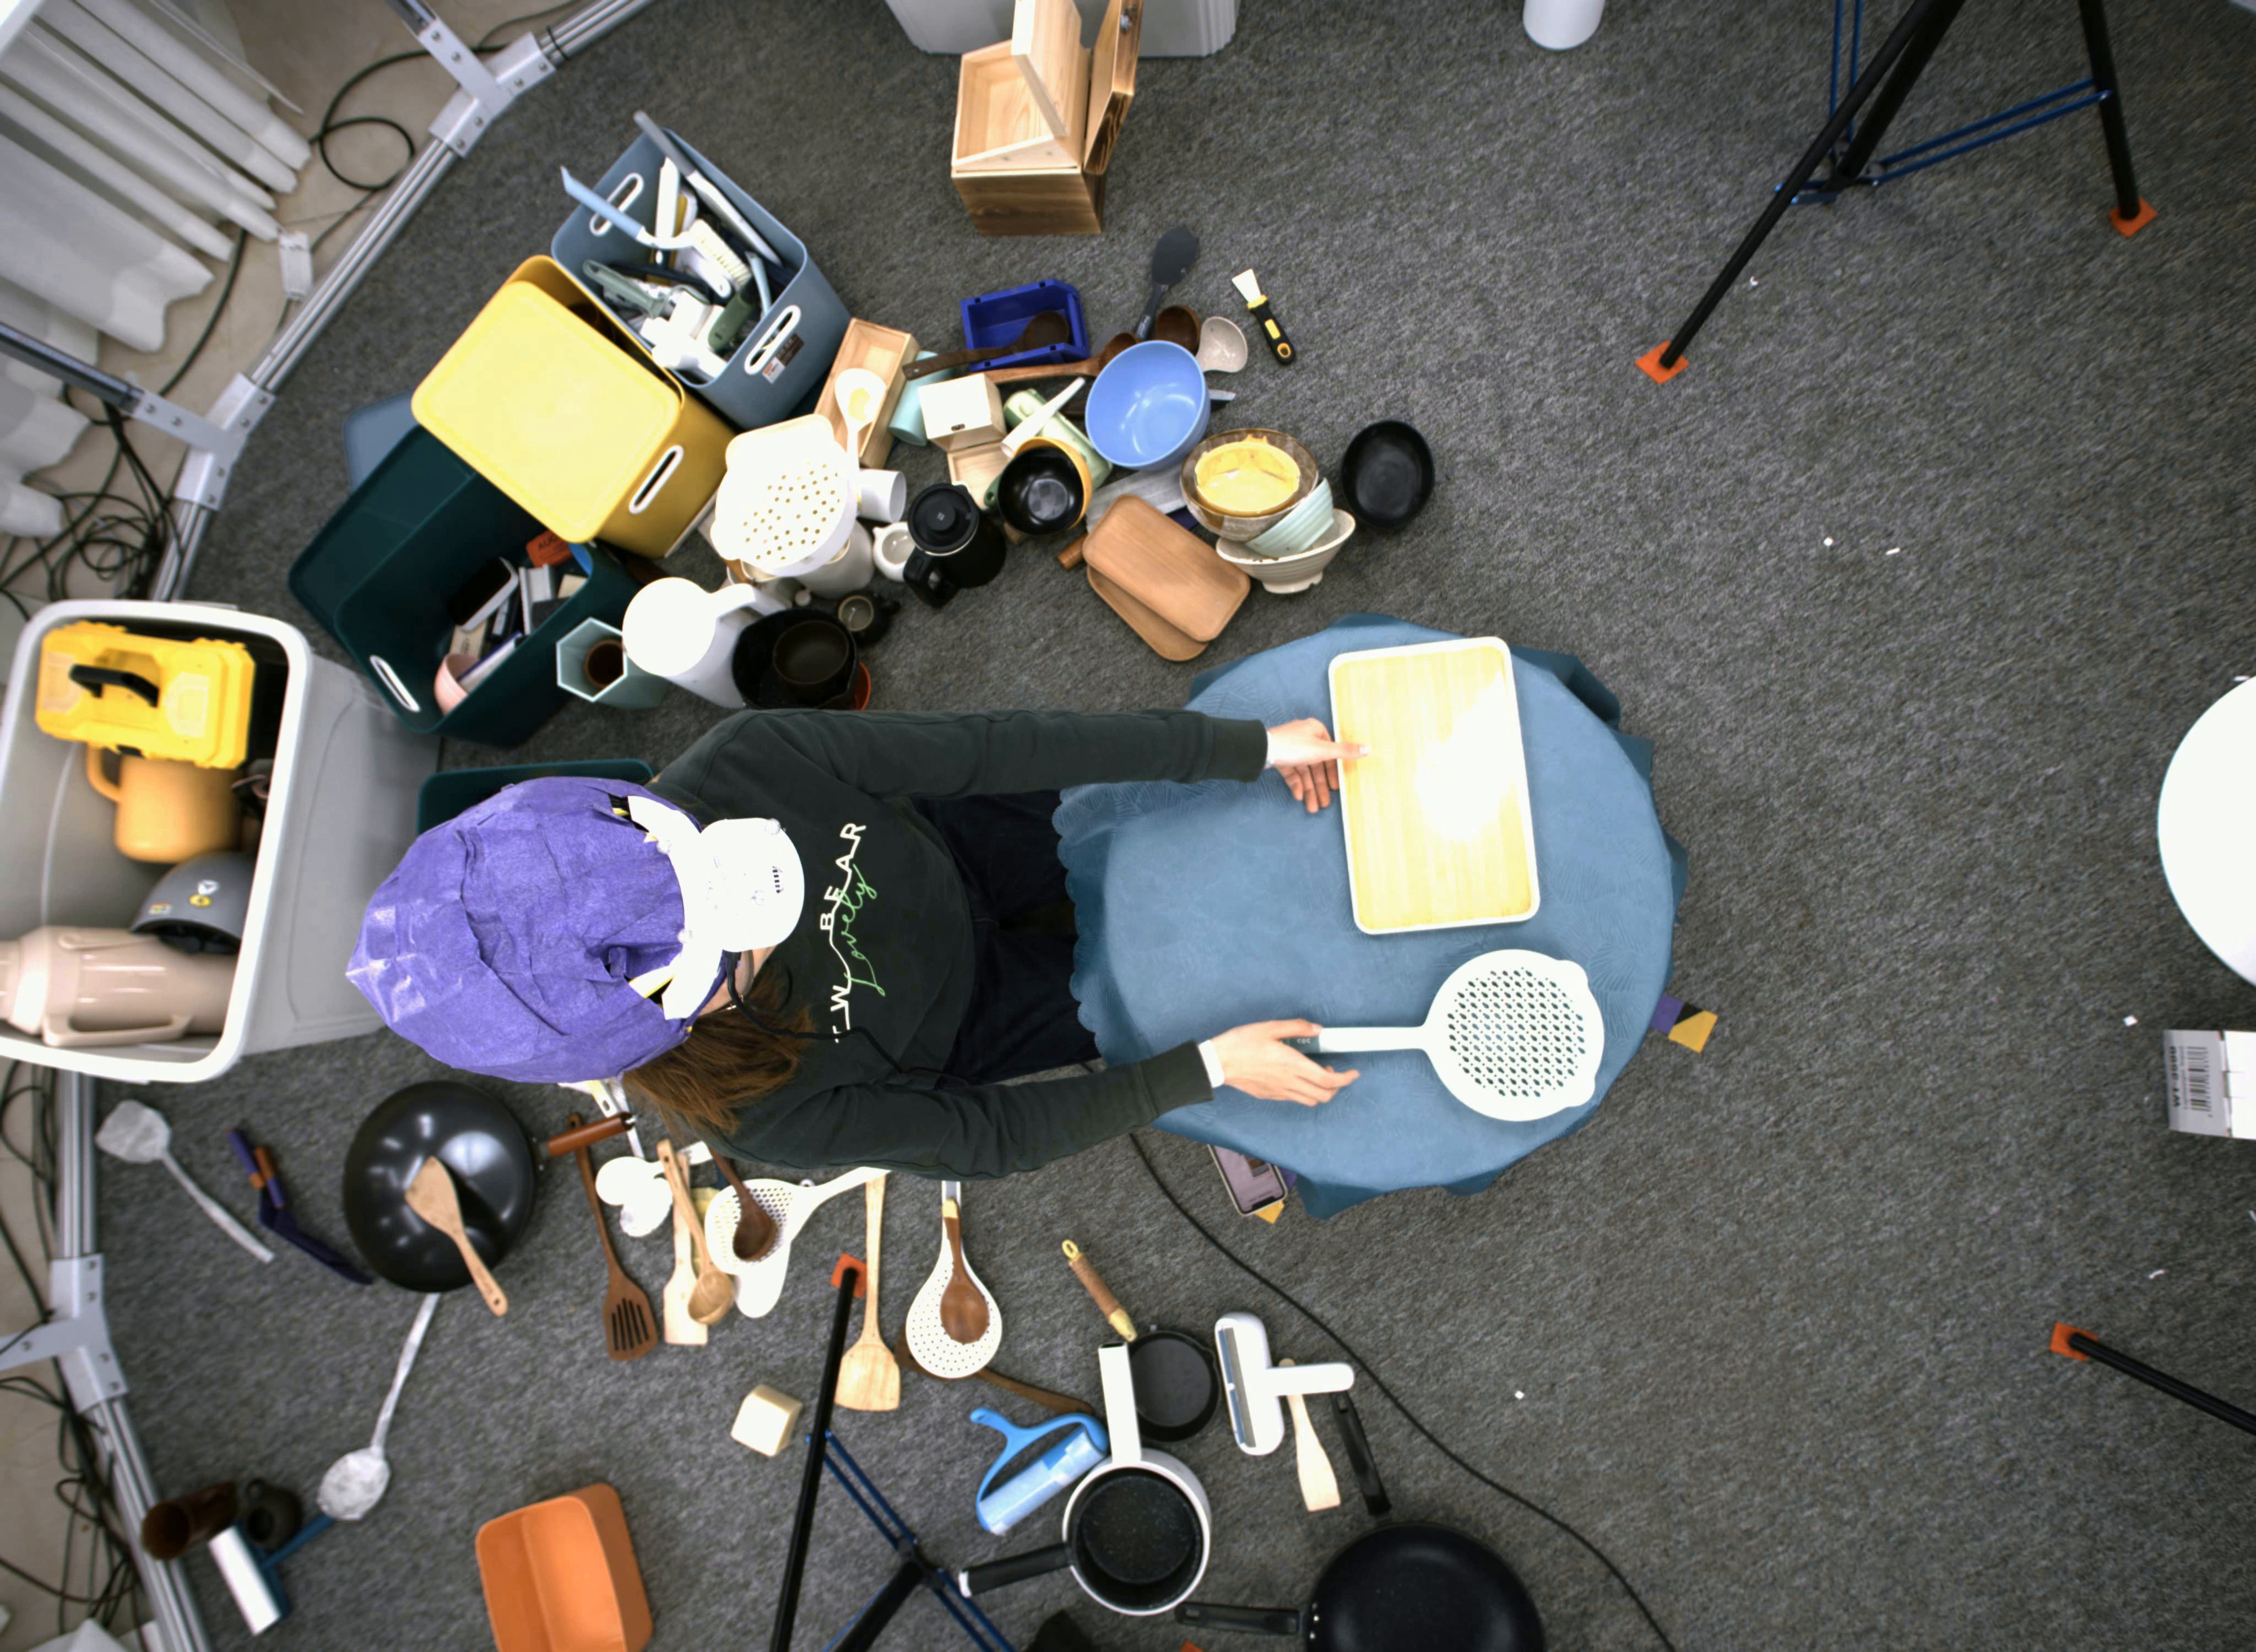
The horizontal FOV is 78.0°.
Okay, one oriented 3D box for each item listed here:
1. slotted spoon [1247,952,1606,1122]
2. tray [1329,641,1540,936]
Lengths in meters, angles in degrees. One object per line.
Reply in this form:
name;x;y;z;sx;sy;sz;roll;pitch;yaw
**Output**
slotted spoon;0.299;0.217;1.417;0.360;0.075;0.168;-3;85;10
tray;0.321;-0.041;1.450;0.192;0.027;0.298;-6;85;10
